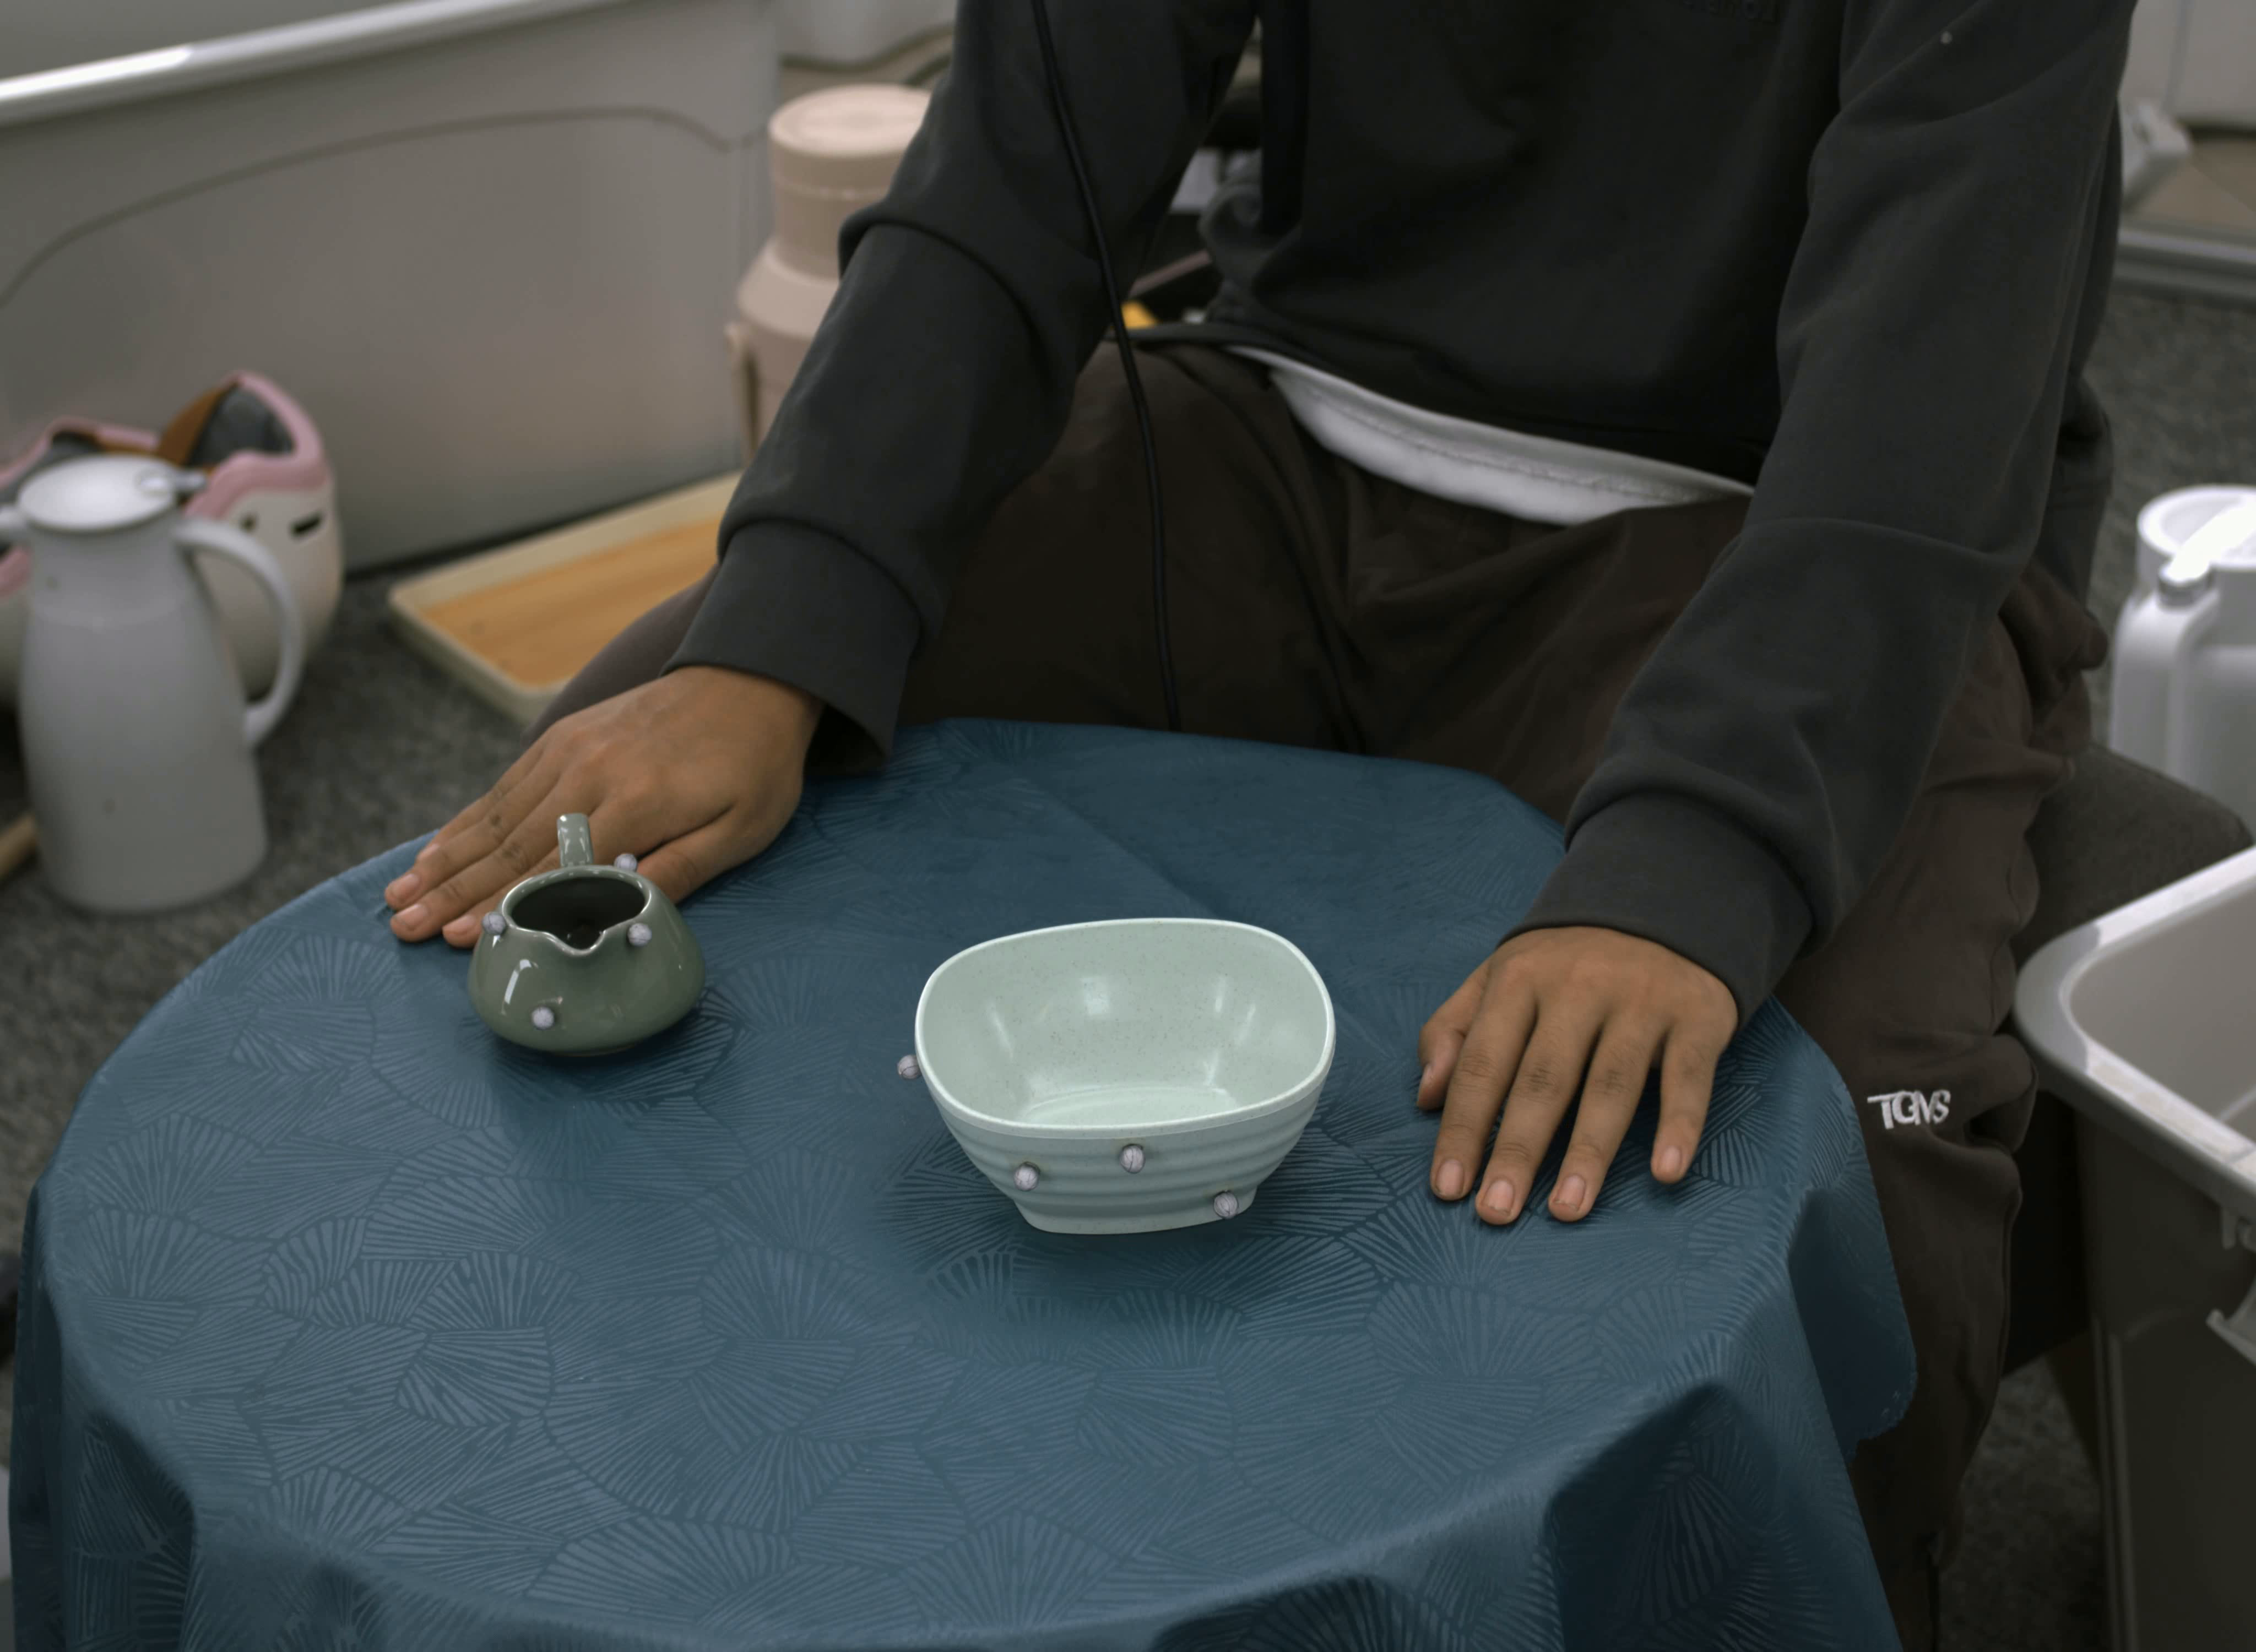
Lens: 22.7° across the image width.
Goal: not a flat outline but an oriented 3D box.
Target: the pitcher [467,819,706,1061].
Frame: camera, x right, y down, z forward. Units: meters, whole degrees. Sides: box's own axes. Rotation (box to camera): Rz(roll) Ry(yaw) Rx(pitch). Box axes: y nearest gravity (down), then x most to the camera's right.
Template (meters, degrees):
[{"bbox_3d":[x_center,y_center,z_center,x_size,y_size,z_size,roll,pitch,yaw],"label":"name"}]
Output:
[{"bbox_3d":[-0.192,0.043,1.976,0.084,0.055,0.114,-6,26,-7],"label":"pitcher"}]

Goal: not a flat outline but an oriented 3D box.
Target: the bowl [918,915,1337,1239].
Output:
[{"bbox_3d":[0.001,0.090,1.867,0.151,0.058,0.154,-2,28,2],"label":"bowl"}]
